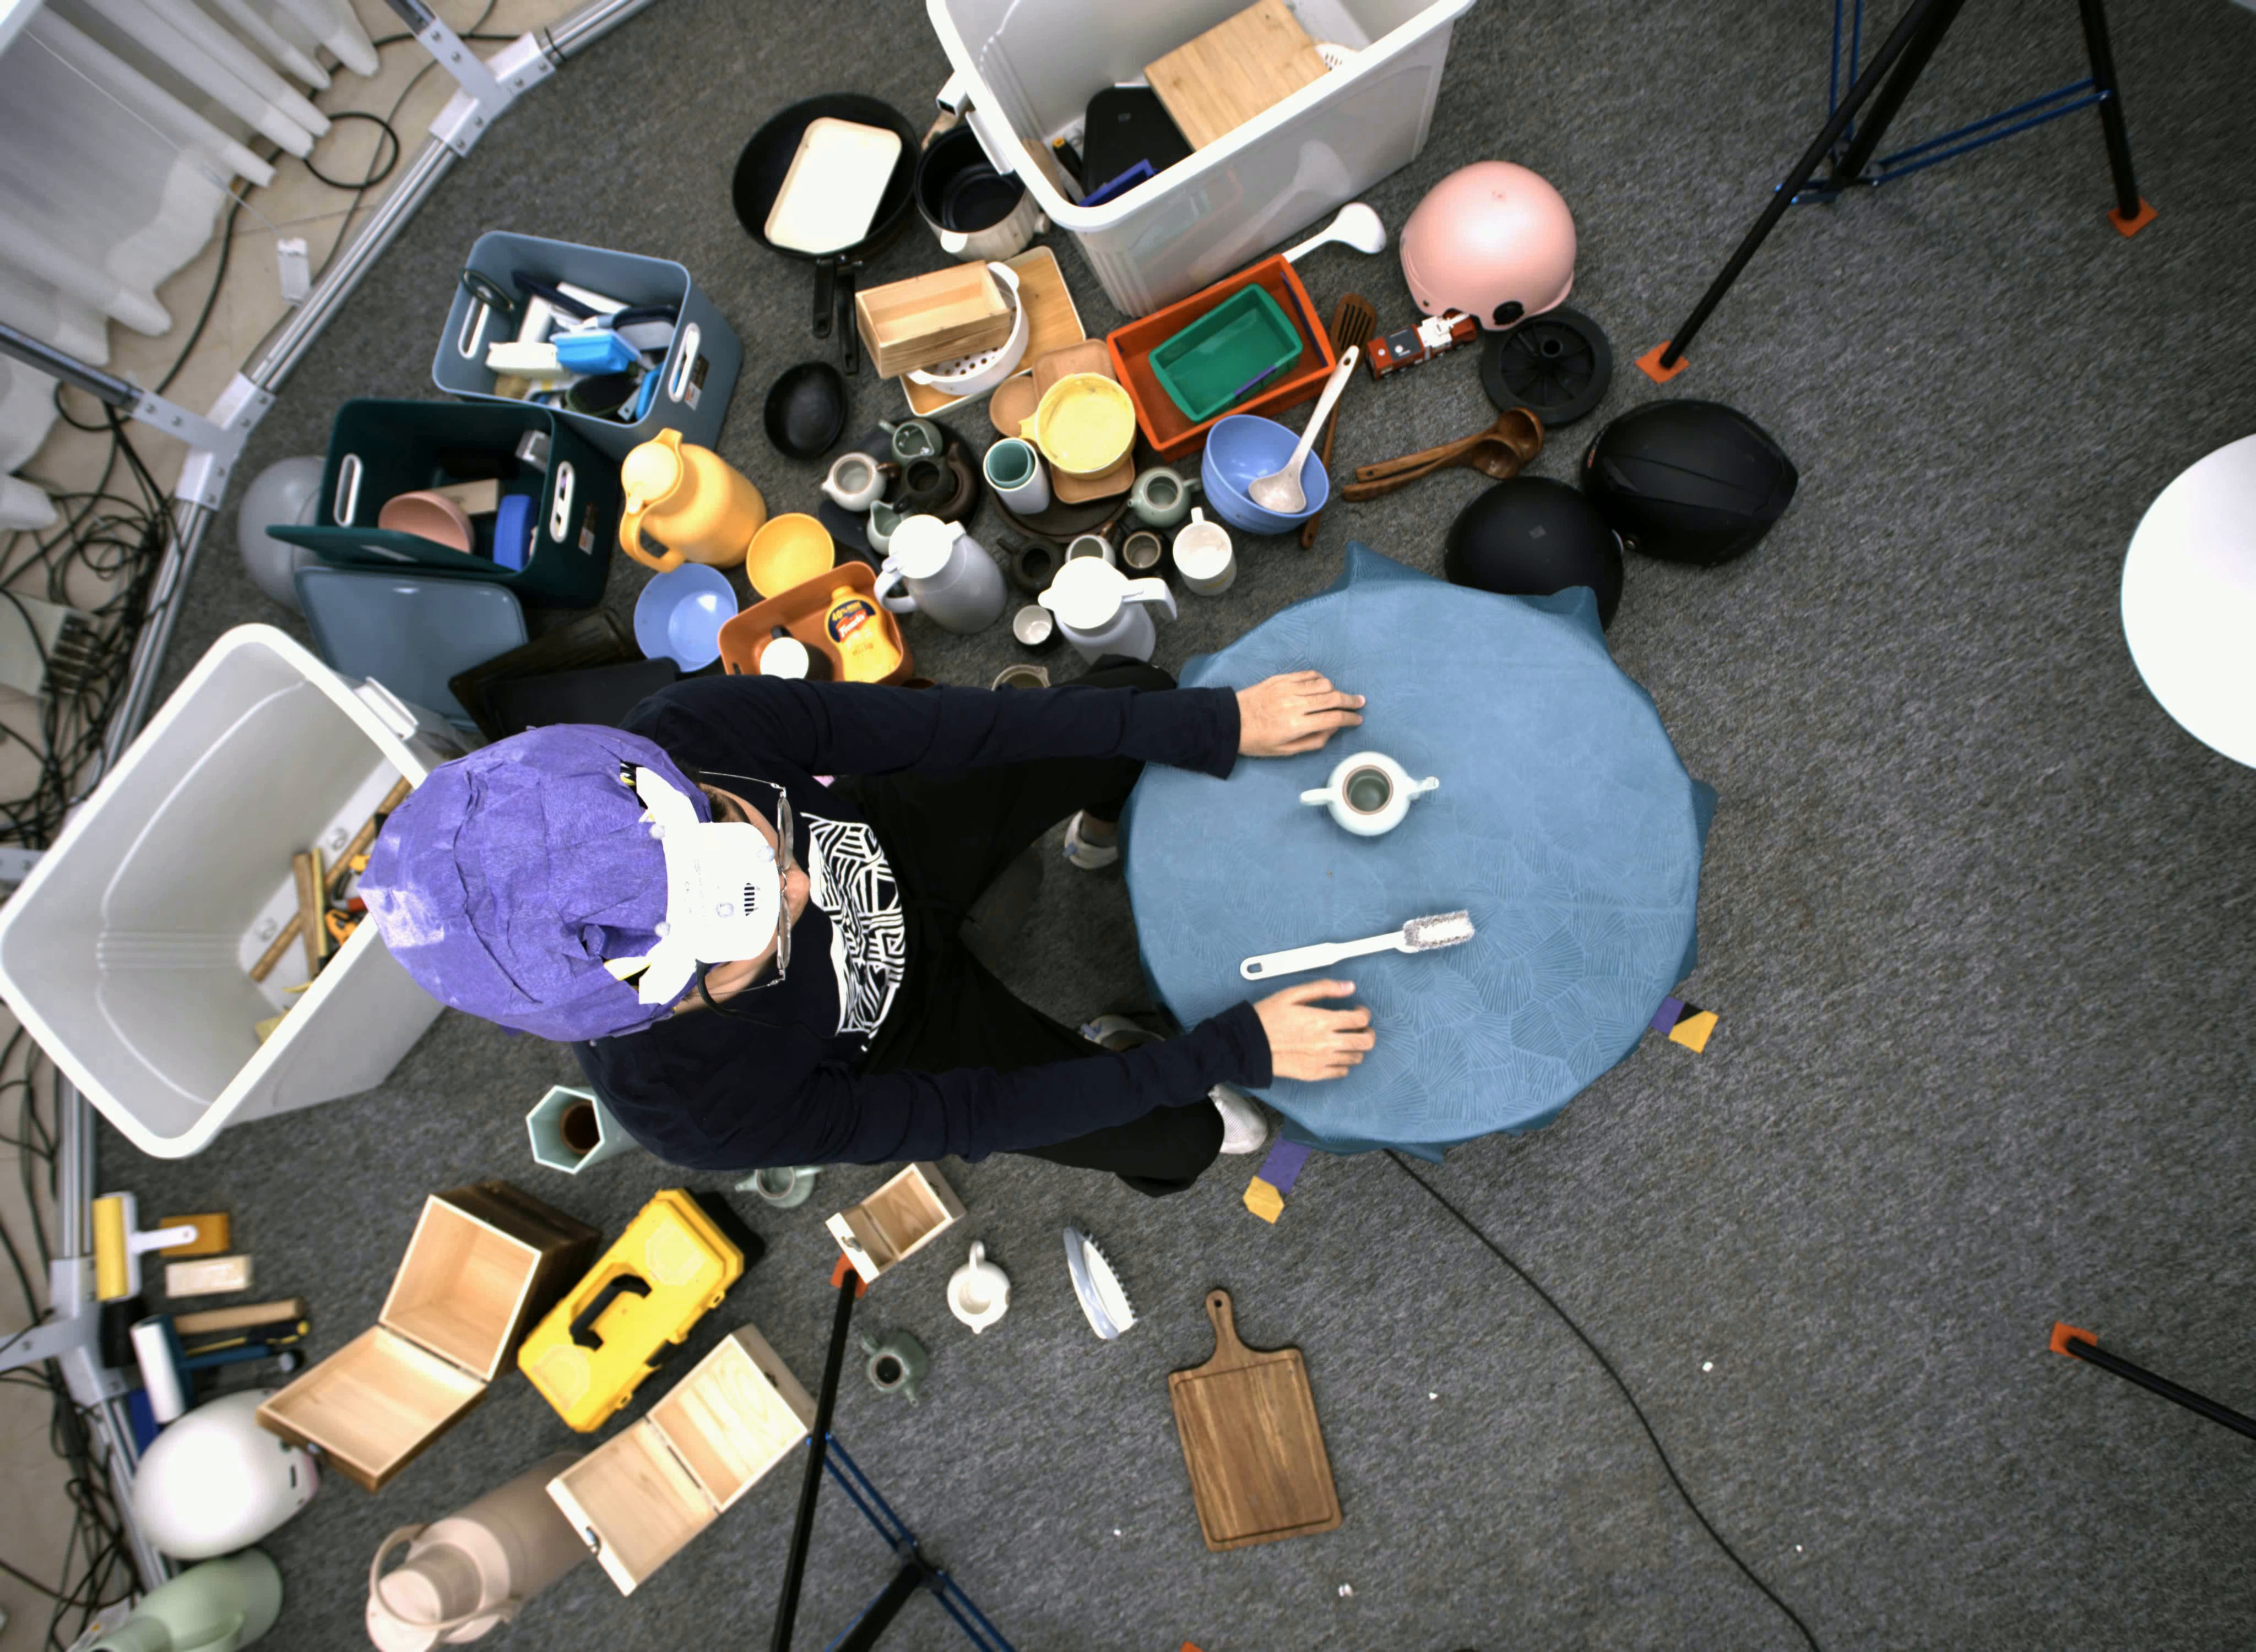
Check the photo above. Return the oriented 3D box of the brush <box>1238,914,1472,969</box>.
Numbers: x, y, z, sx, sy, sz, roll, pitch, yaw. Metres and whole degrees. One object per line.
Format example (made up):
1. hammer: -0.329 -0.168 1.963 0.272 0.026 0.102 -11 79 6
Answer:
1. brush: 0.233 0.122 1.439 0.245 0.050 0.034 -9 88 10

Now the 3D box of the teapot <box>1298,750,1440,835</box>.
1. teapot: 0.249 -0.036 1.432 0.144 0.075 0.088 -3 87 9
